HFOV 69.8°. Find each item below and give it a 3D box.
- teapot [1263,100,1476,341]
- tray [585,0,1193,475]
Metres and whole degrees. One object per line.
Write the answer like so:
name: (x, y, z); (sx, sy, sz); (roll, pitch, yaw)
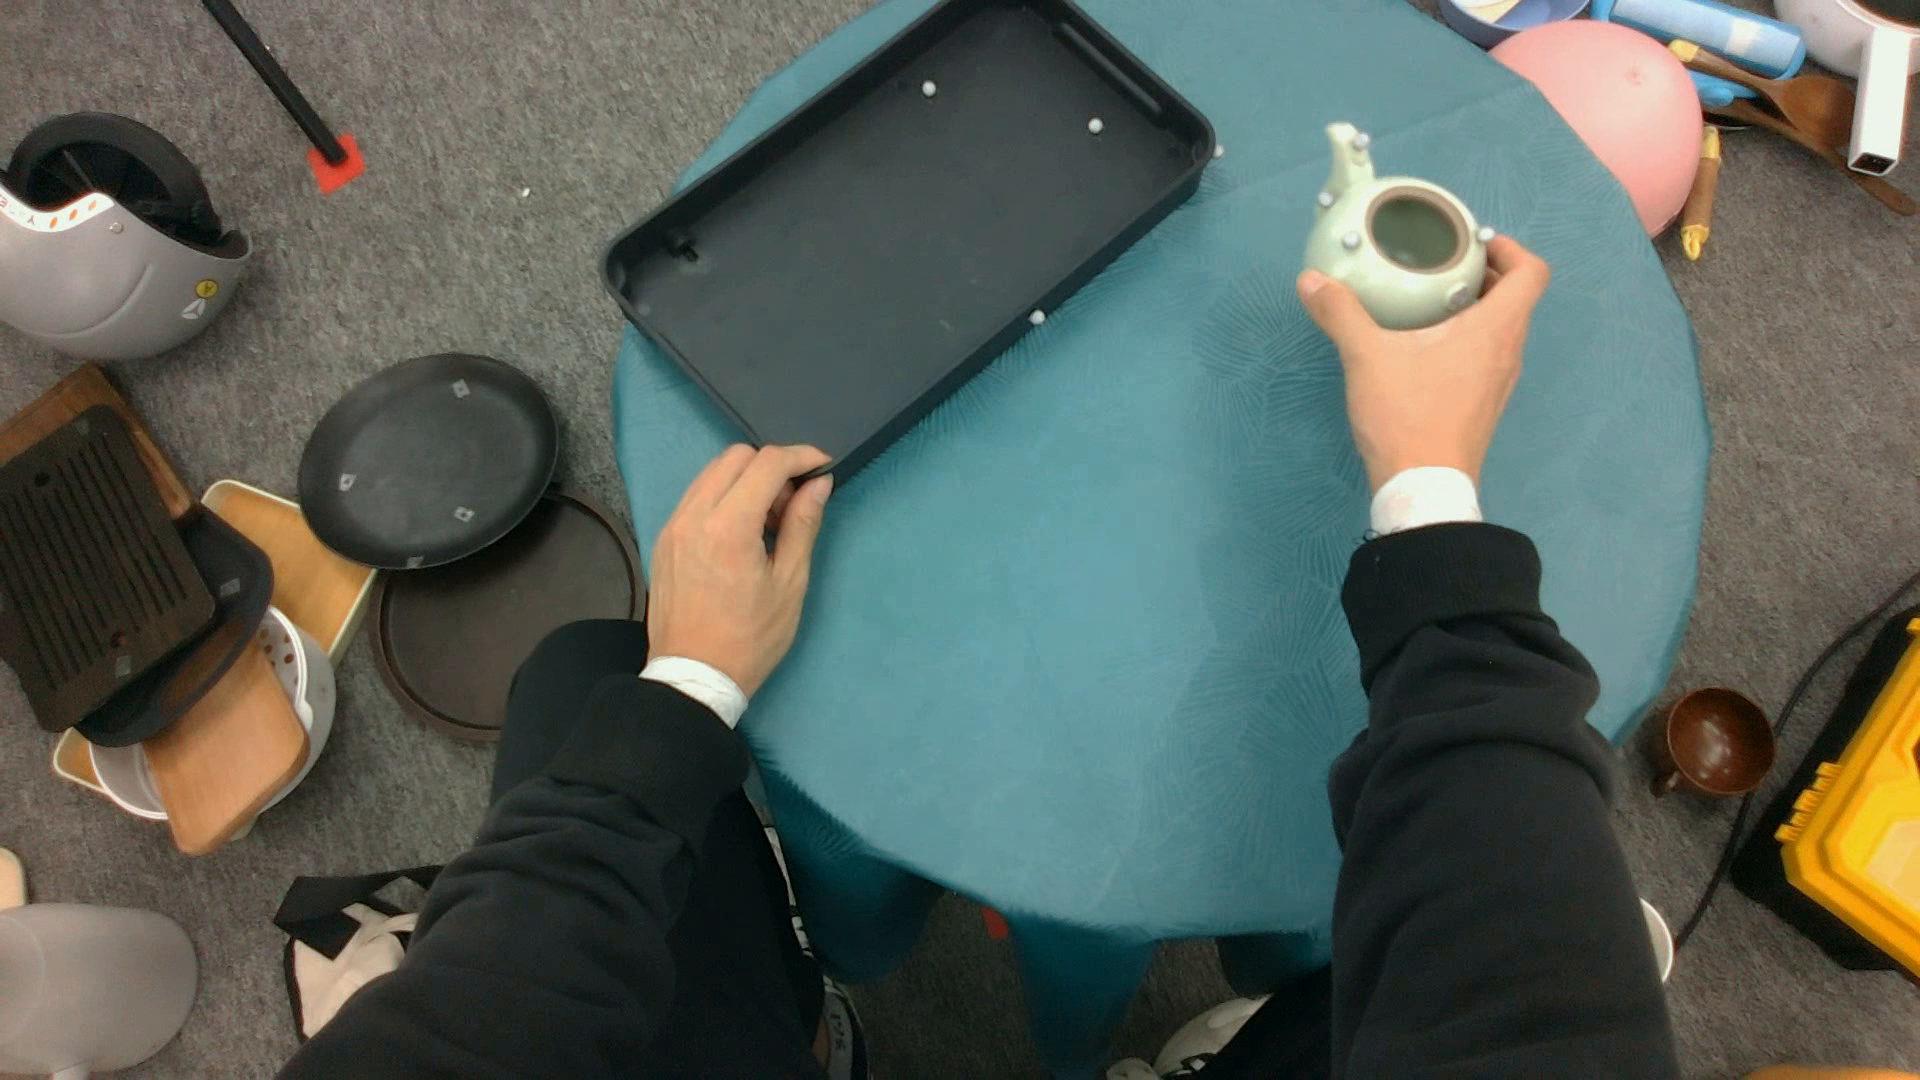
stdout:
teapot: (0.198, -0.152, 0.695); (0.088, 0.074, 0.144); (-28, 70, -17)
tray: (-0.035, -0.194, 0.772); (0.184, 0.037, 0.319); (43, 74, 14)
